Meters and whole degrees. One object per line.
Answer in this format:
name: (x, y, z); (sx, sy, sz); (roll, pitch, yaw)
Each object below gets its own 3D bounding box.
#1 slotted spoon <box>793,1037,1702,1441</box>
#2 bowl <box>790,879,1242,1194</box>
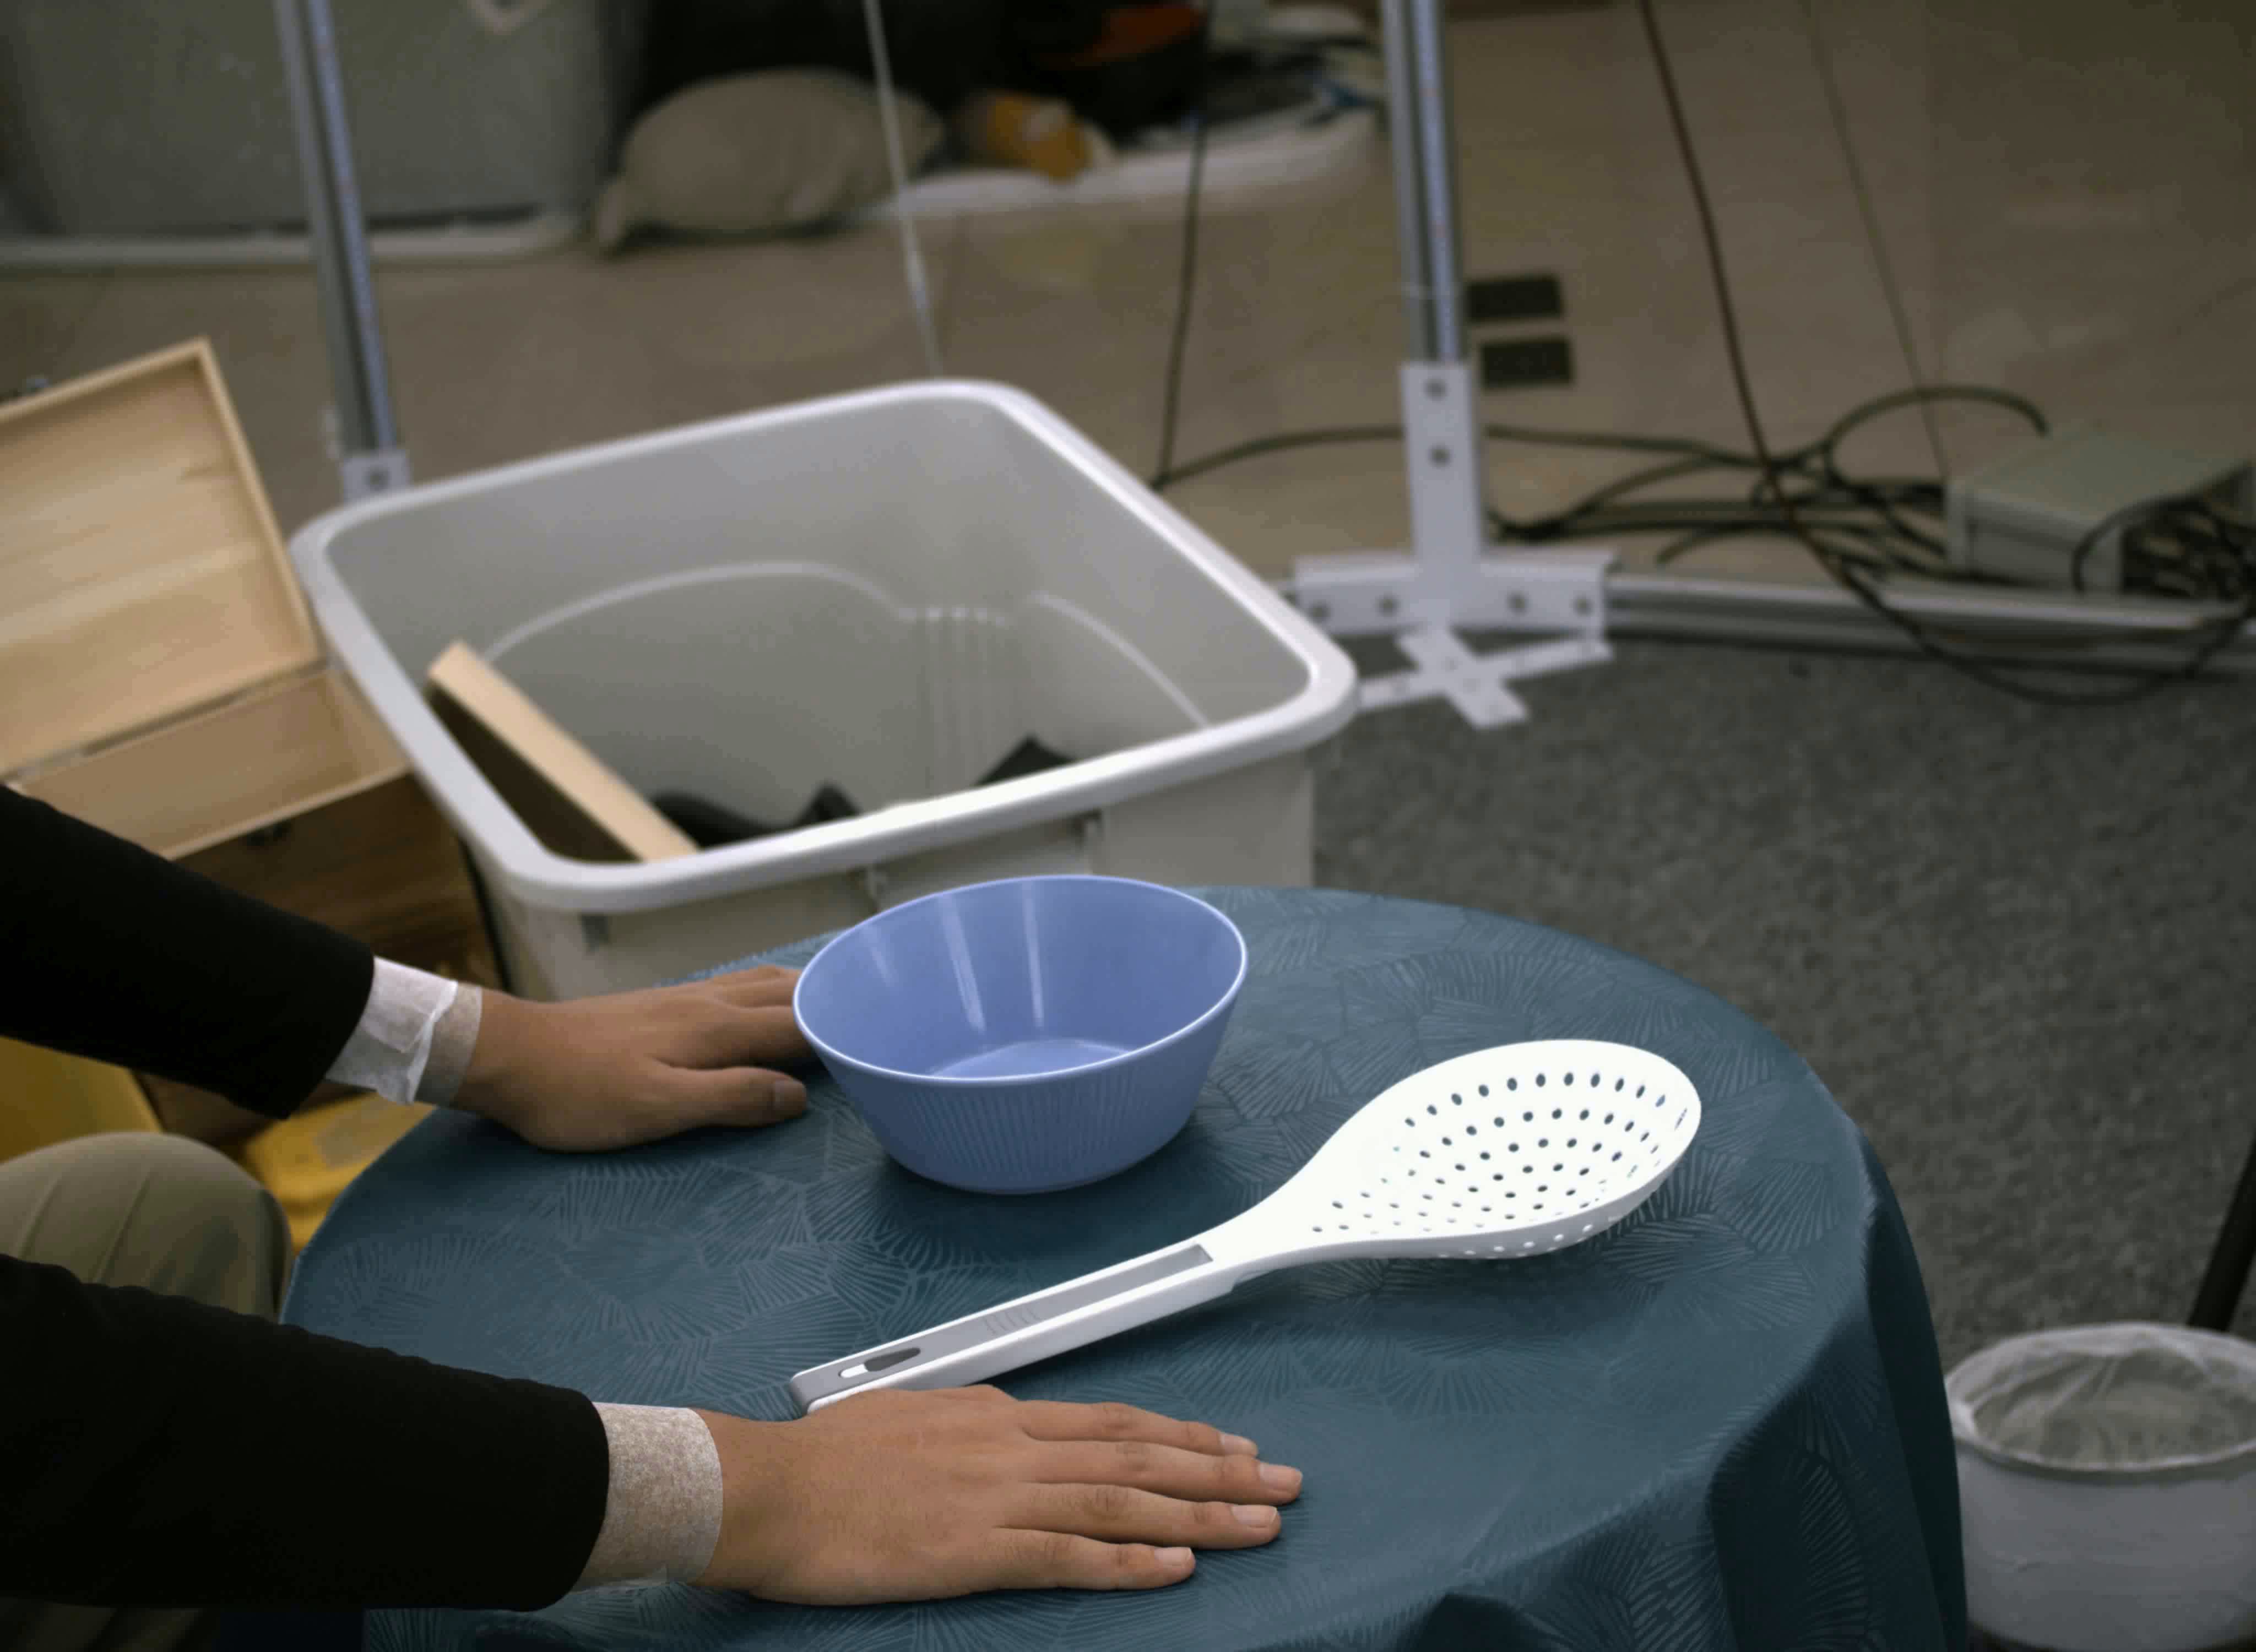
slotted spoon: (0.045, 0.153, 2.052); (0.348, 0.046, 0.134); (-15, 26, -15)
bowl: (-0.039, 0.087, 2.186); (0.176, 0.071, 0.173); (-6, 25, 3)
